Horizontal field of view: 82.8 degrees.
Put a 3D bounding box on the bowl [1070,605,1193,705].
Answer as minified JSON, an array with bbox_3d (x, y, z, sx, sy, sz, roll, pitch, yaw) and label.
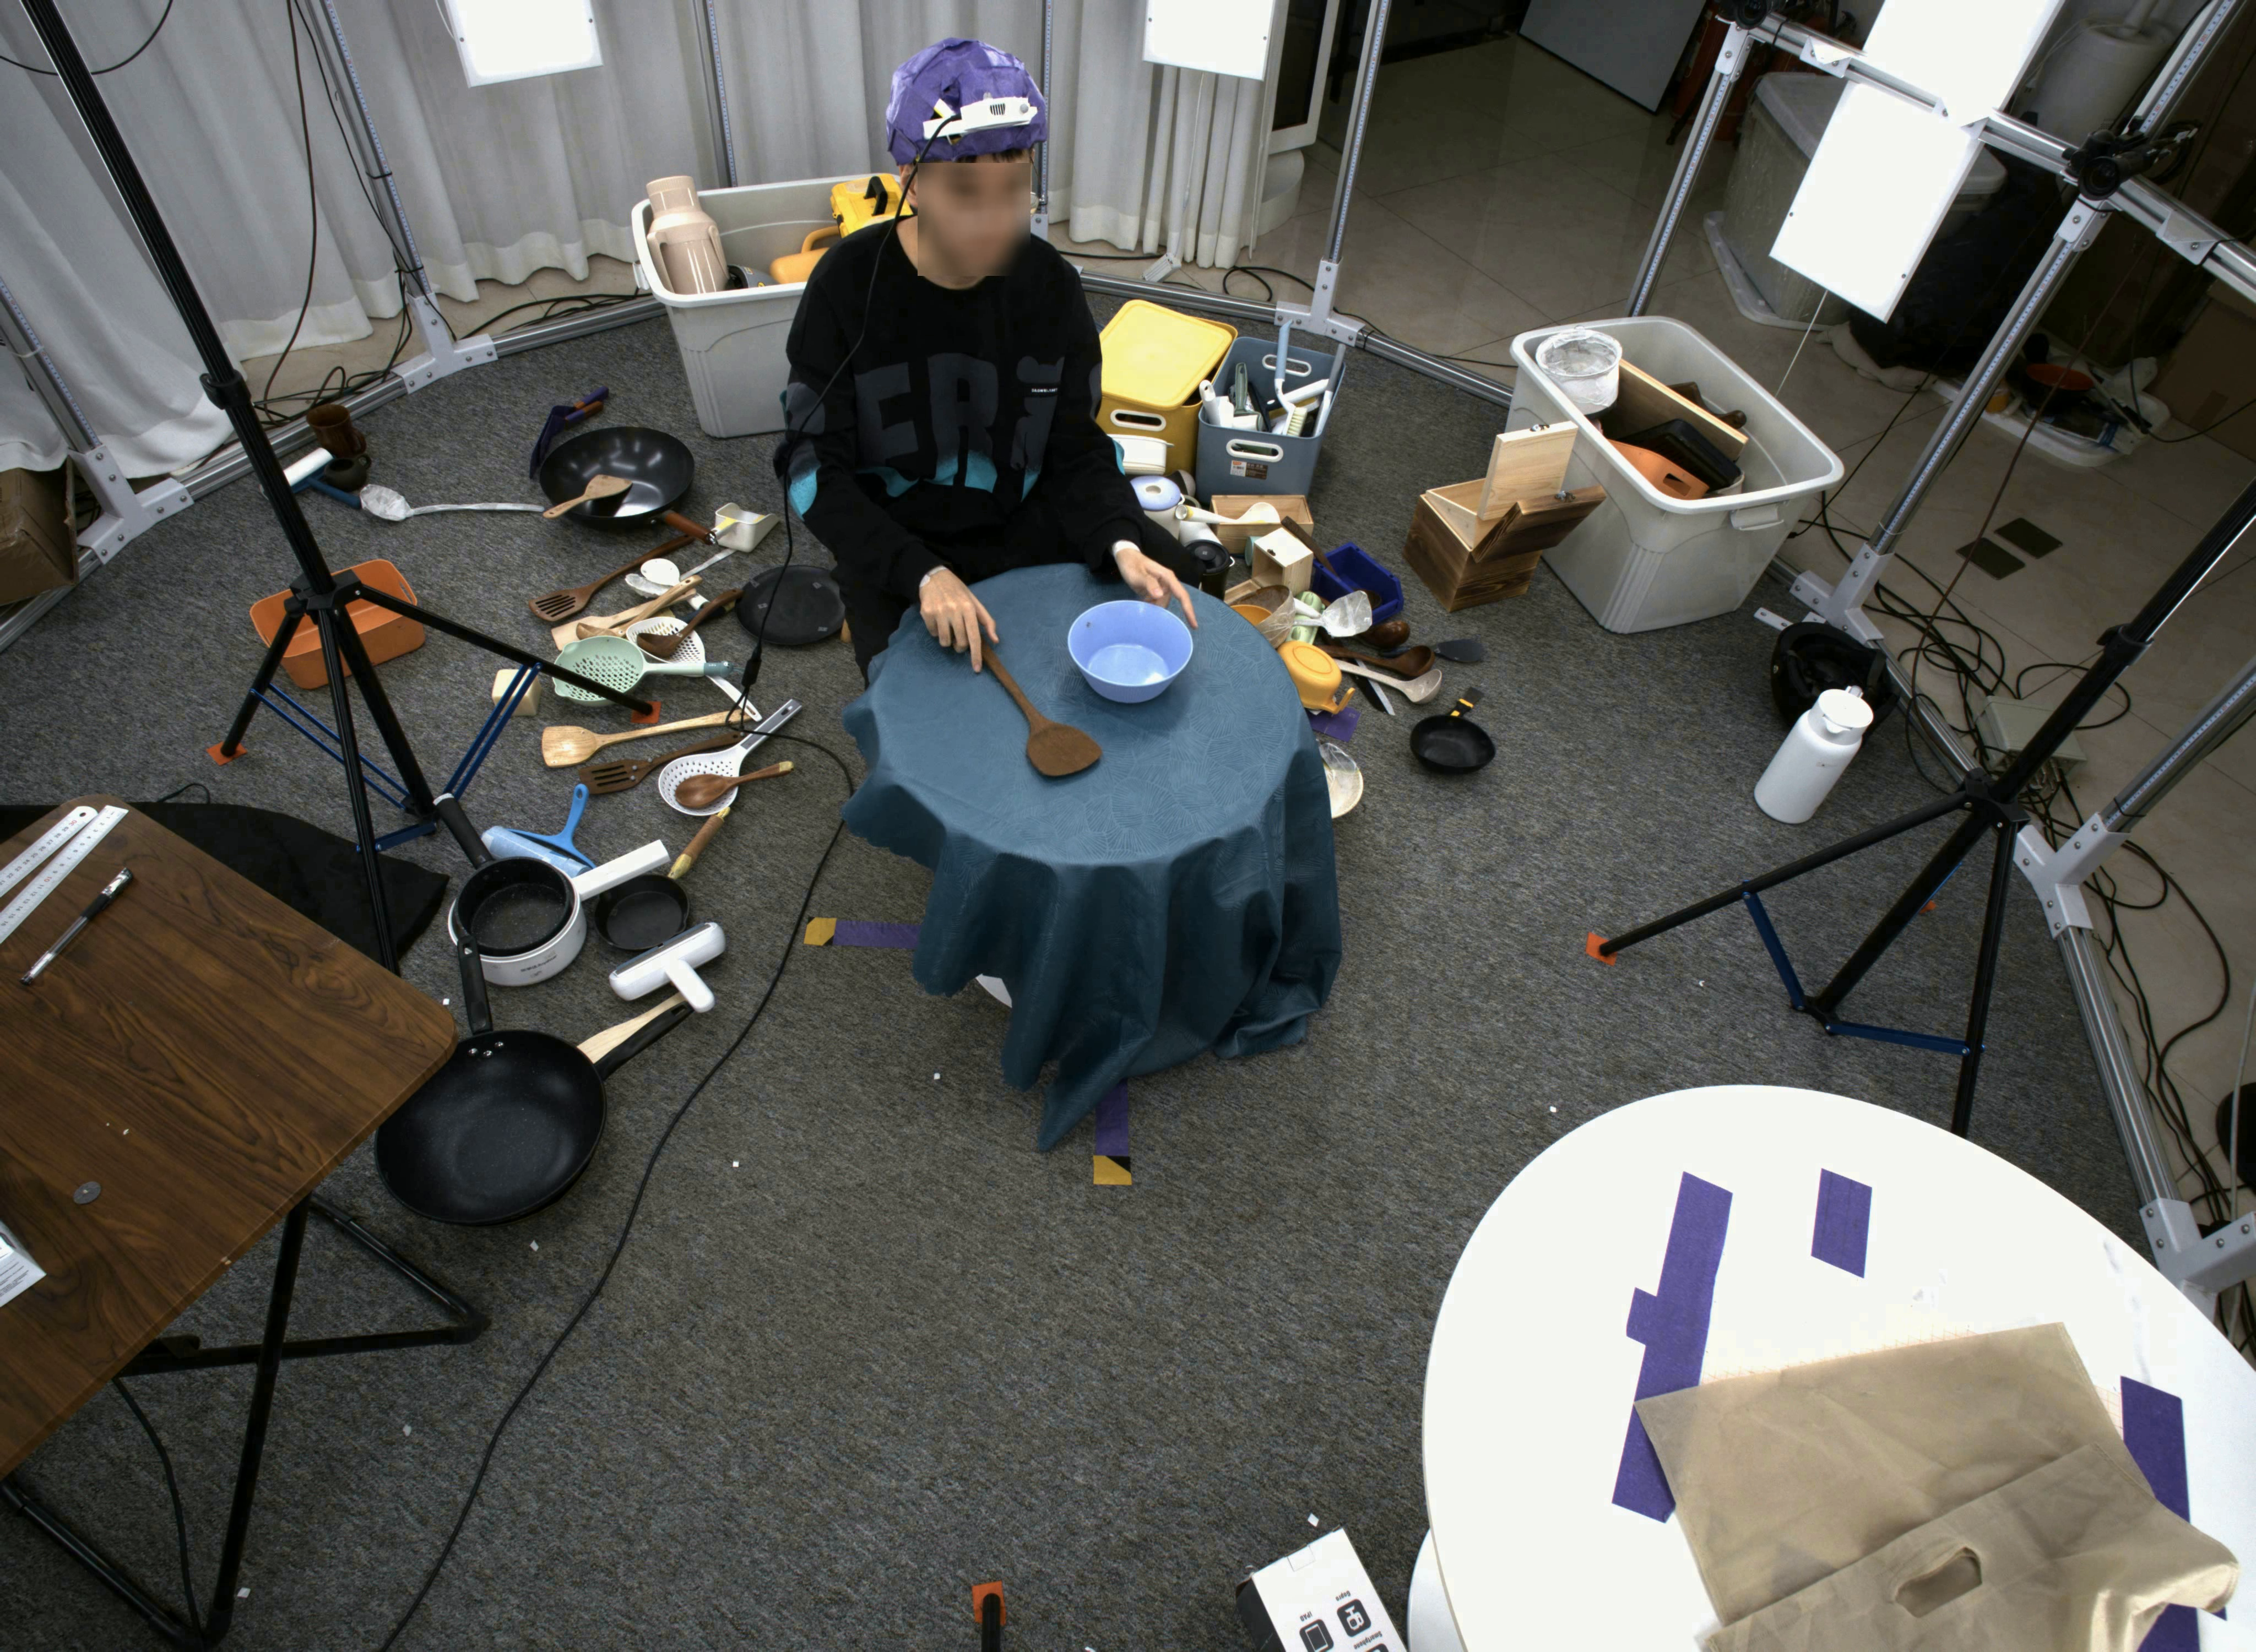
[{"bbox_3d":[0.004,-0.237,1.847,0.176,0.068,0.180,1,48,-2],"label":"bowl"}]

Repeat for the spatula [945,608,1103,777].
[{"bbox_3d":[-0.167,-0.201,1.839,0.096,0.015,0.394,-23,54,-23],"label":"spatula"}]
